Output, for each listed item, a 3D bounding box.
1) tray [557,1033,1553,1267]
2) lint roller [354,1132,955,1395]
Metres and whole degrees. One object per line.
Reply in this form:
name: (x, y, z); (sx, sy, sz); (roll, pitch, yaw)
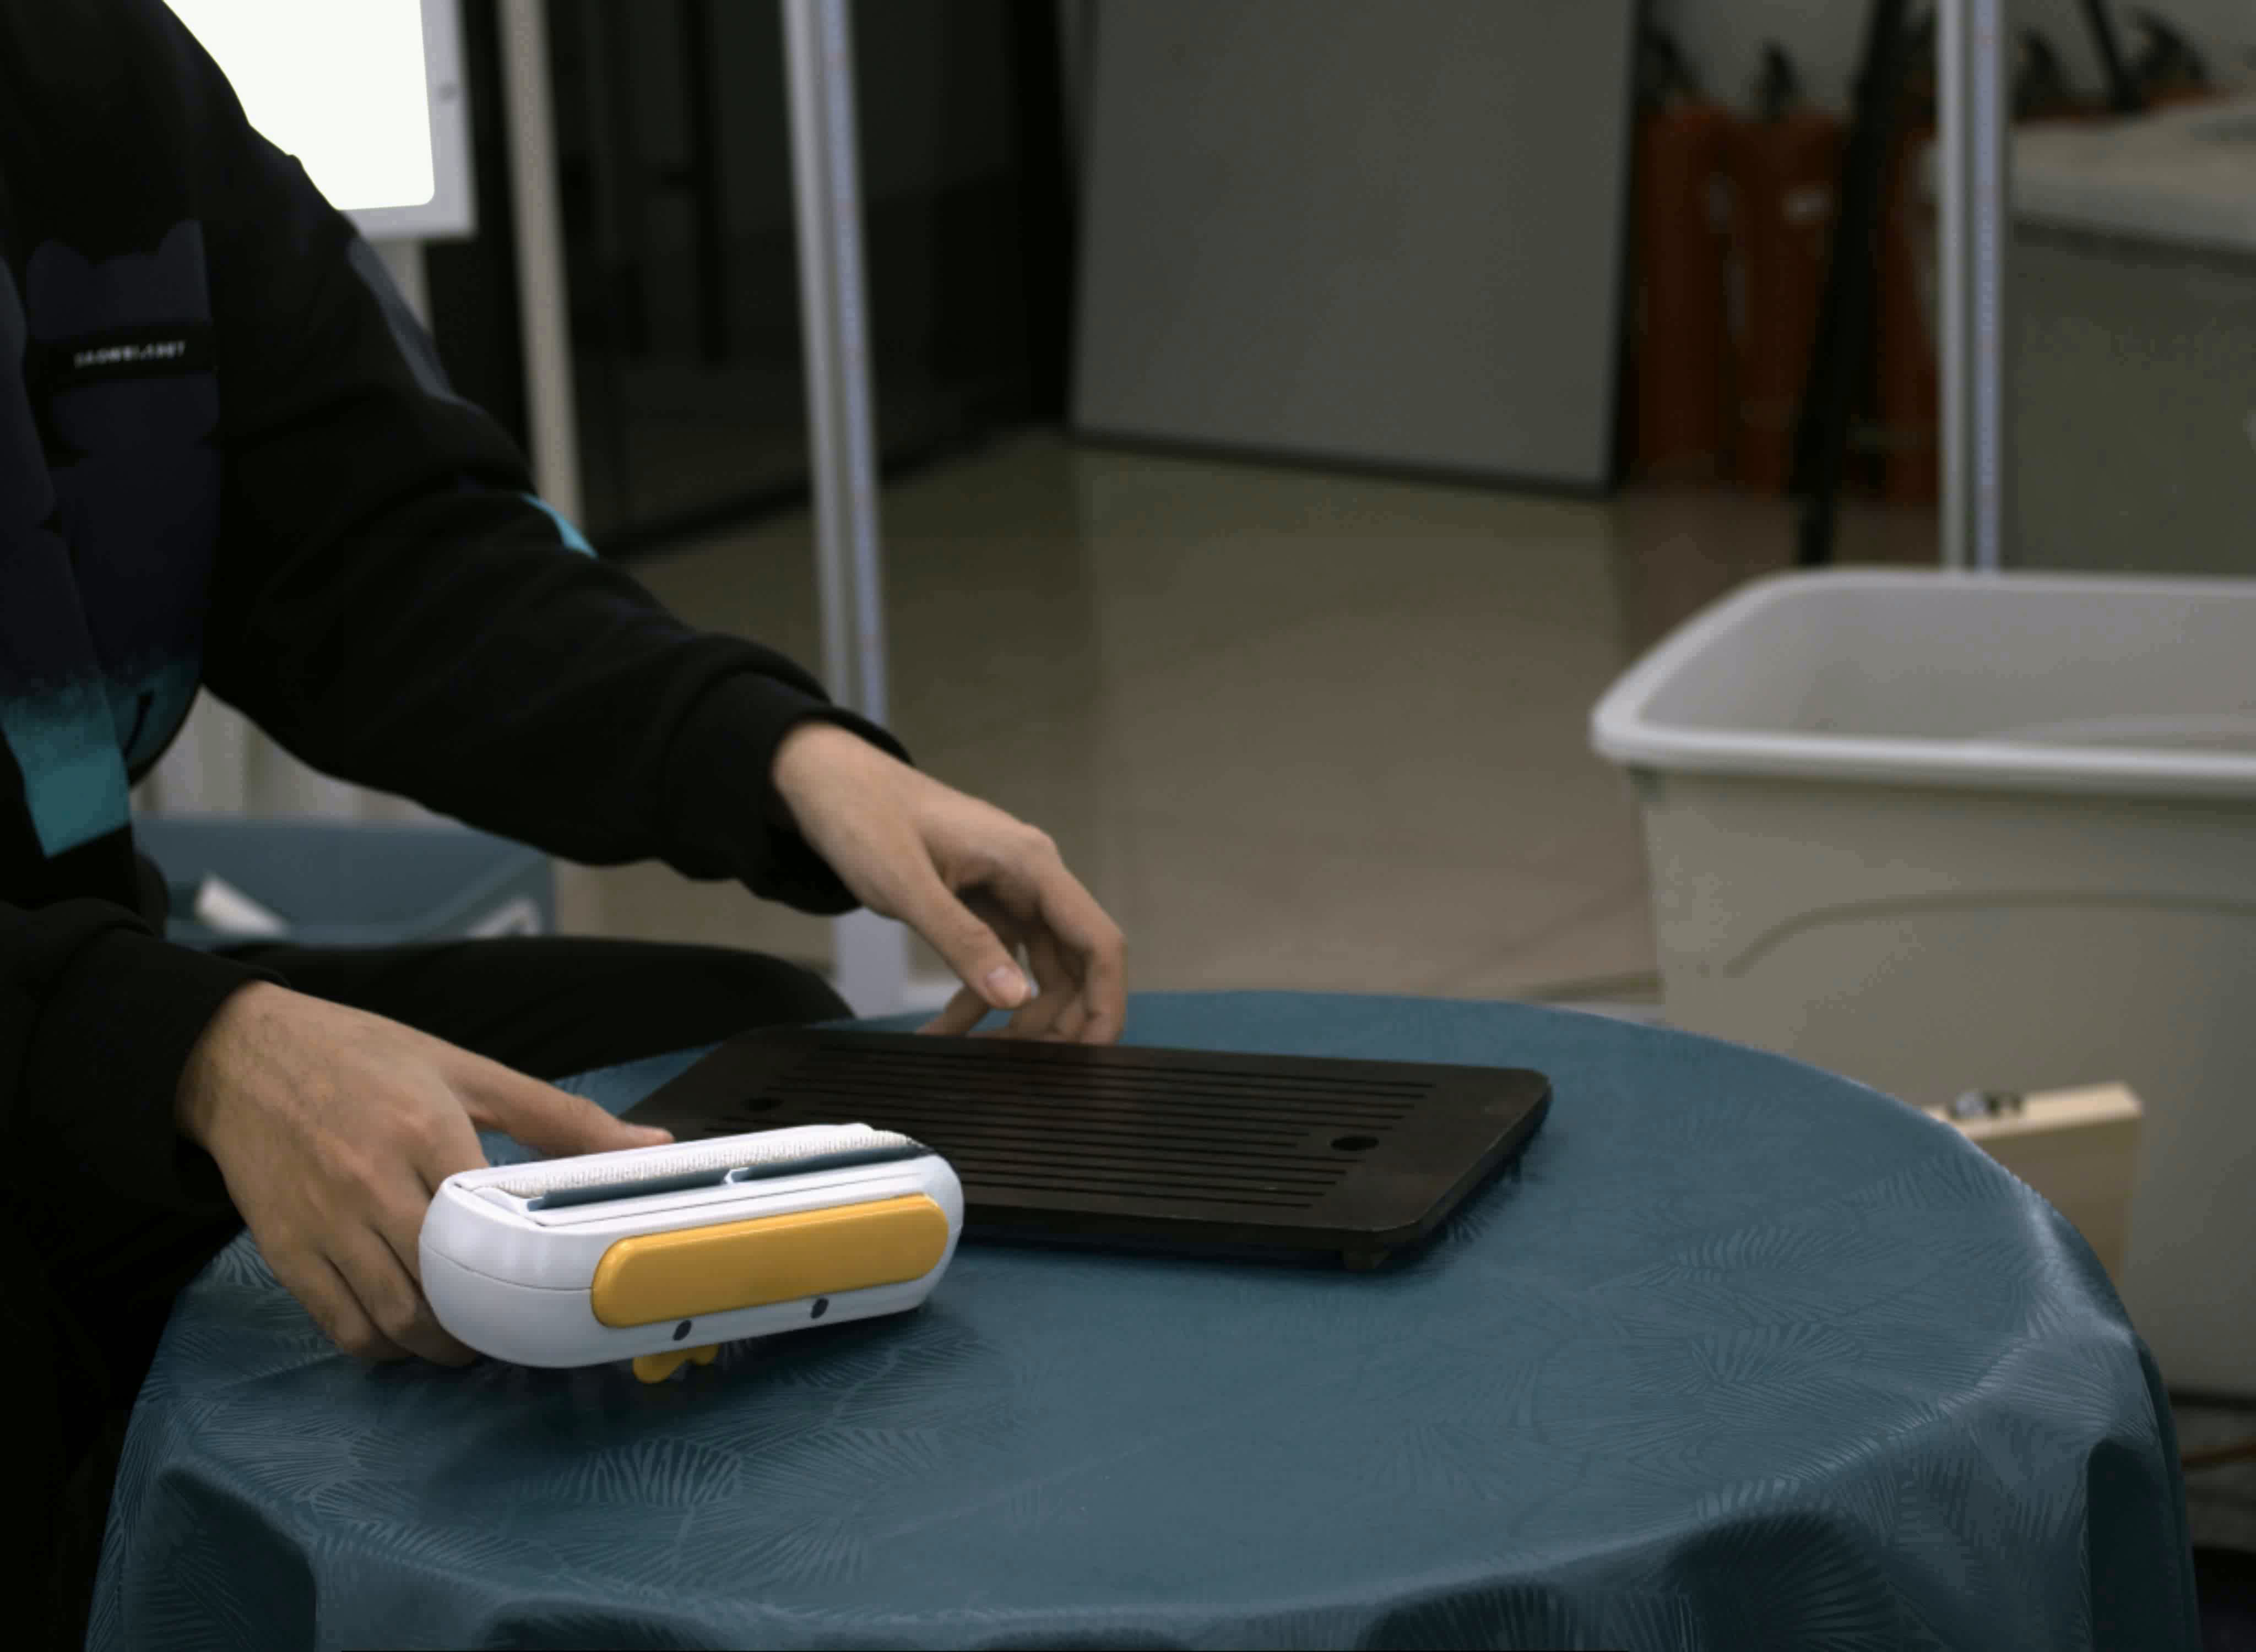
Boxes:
tray: (-0.023, 0.106, 1.800); (0.306, 0.019, 0.168); (2, 15, 23)
lint roller: (-0.173, 0.127, 1.660); (0.188, 0.075, 0.194); (-9, 12, -42)
